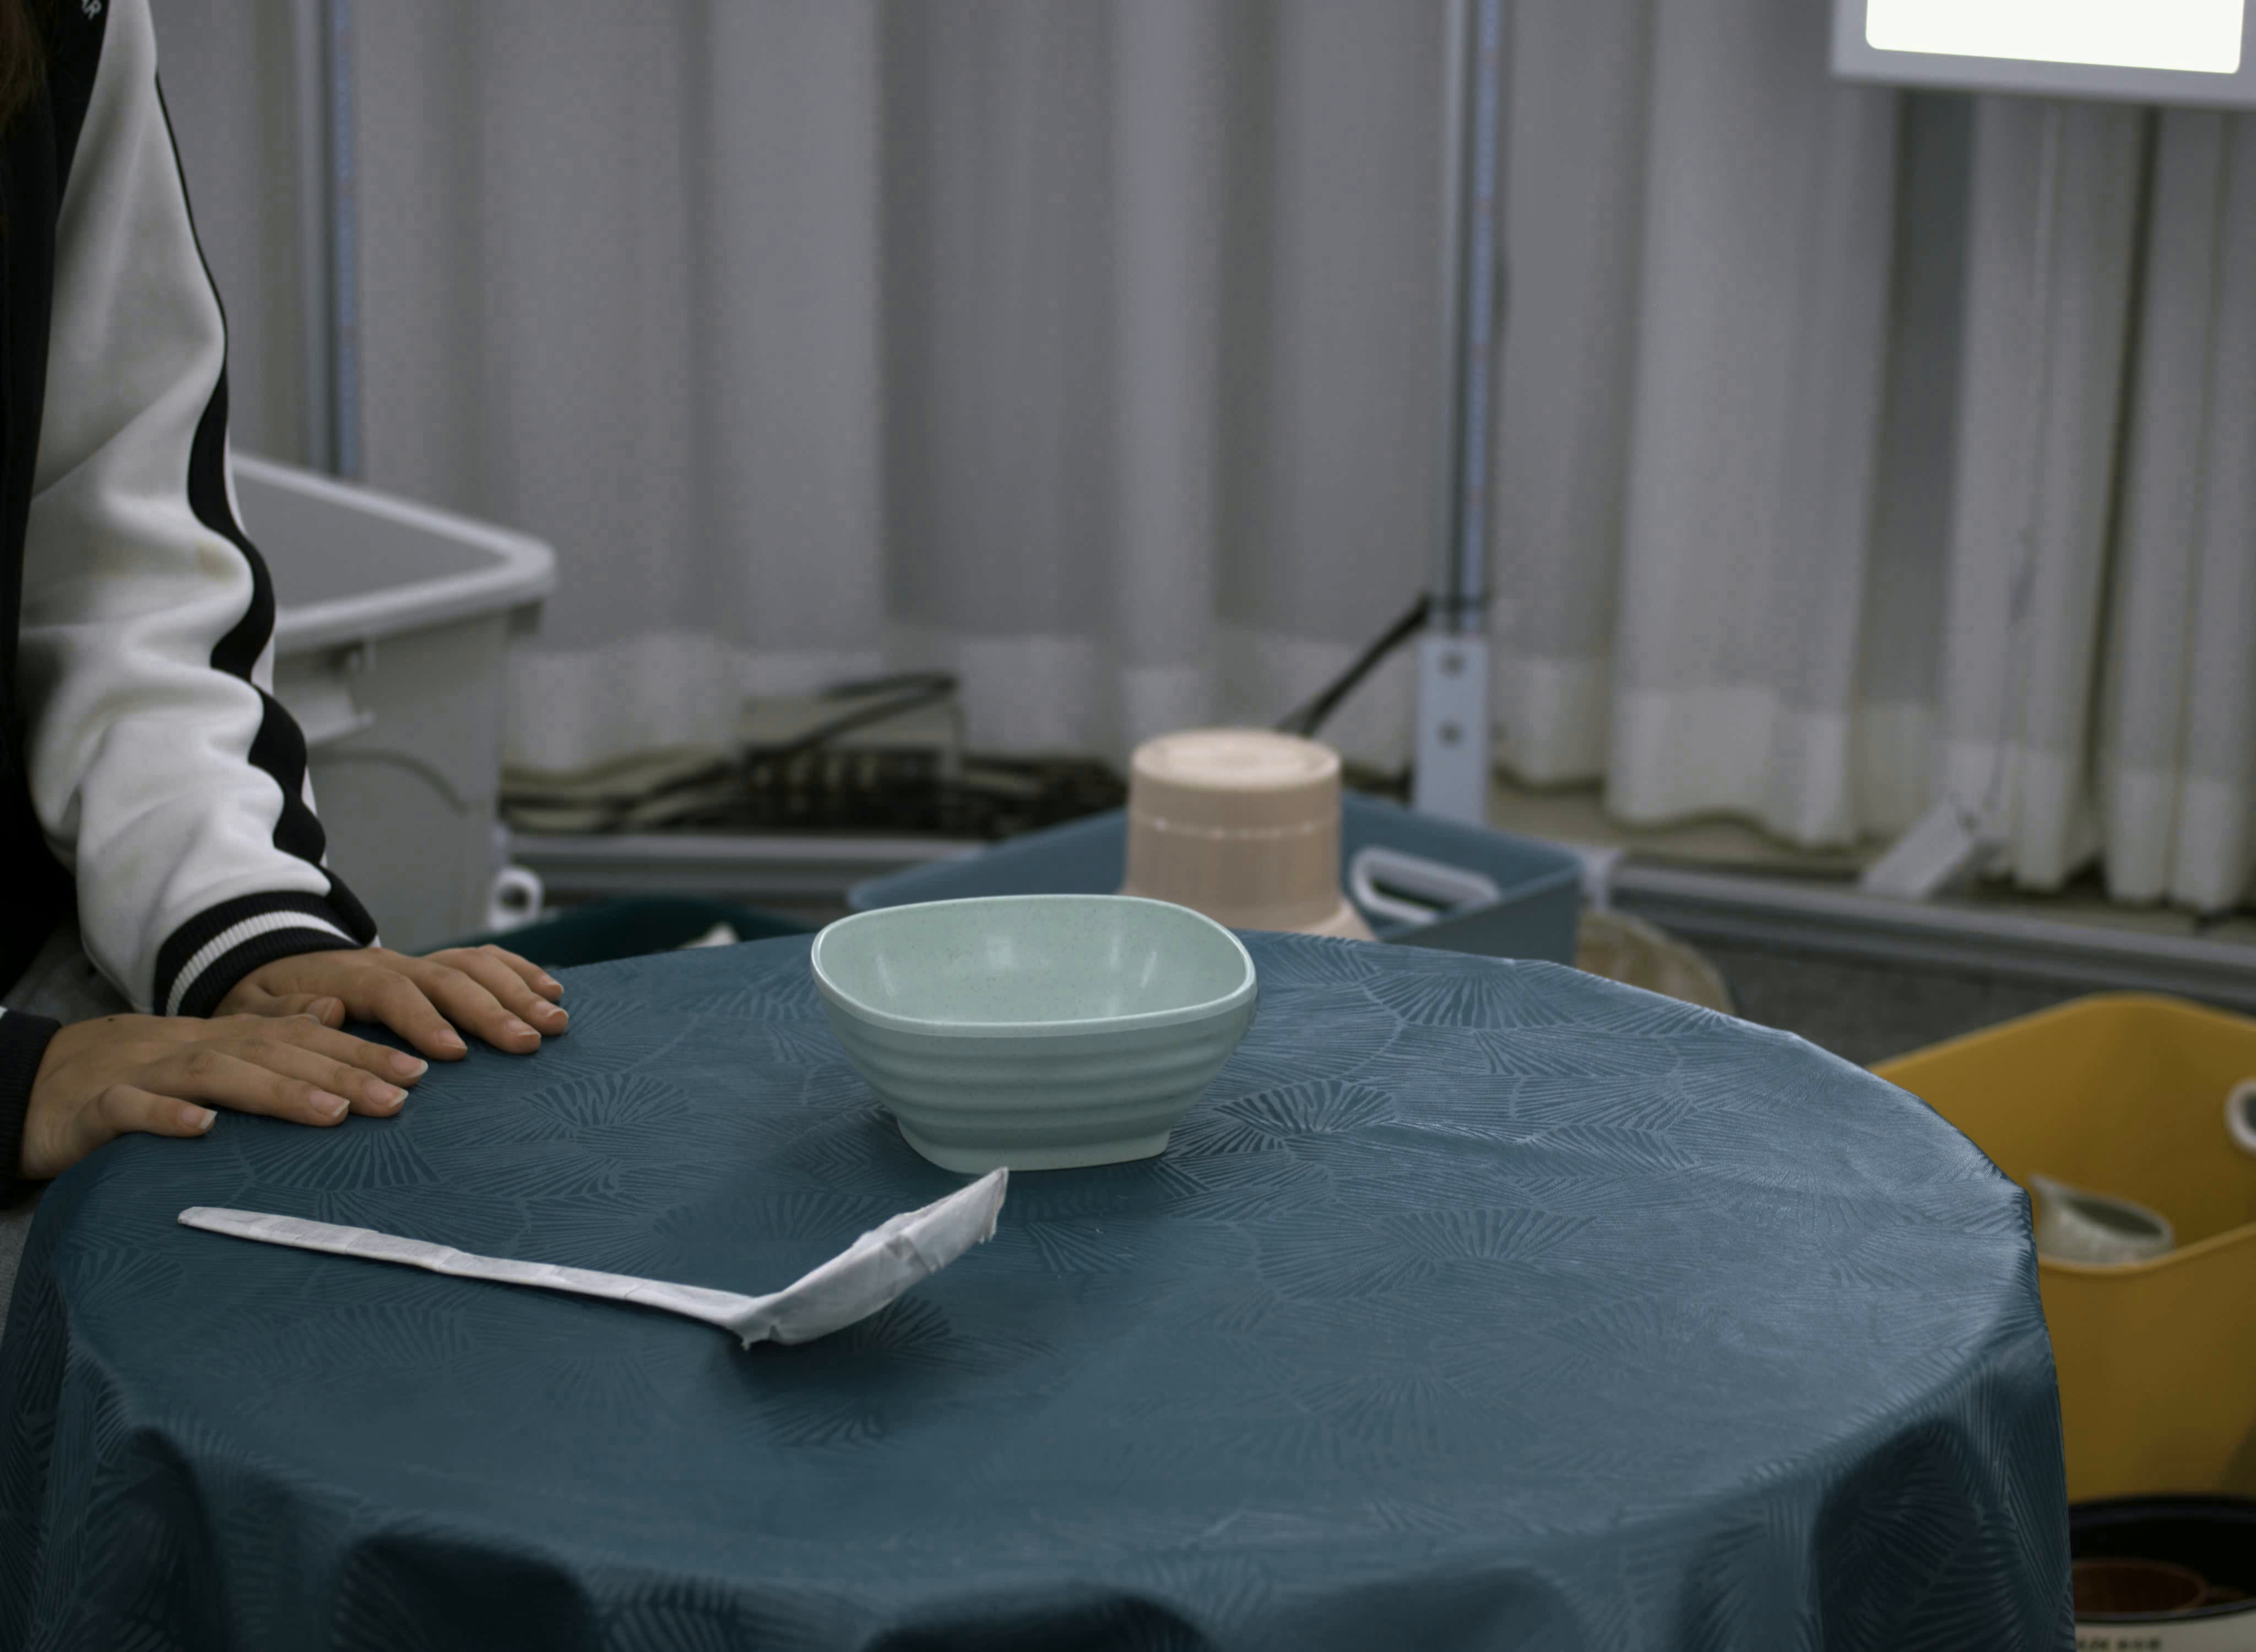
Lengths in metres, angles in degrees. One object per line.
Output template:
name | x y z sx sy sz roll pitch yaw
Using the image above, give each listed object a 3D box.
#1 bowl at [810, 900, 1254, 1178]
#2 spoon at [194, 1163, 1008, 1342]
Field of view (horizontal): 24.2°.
bowl | -0.031 0.071 1.671 0.151 0.059 0.150 1 16 0
spoon | -0.159 0.106 1.533 0.274 0.060 0.101 9 13 28
